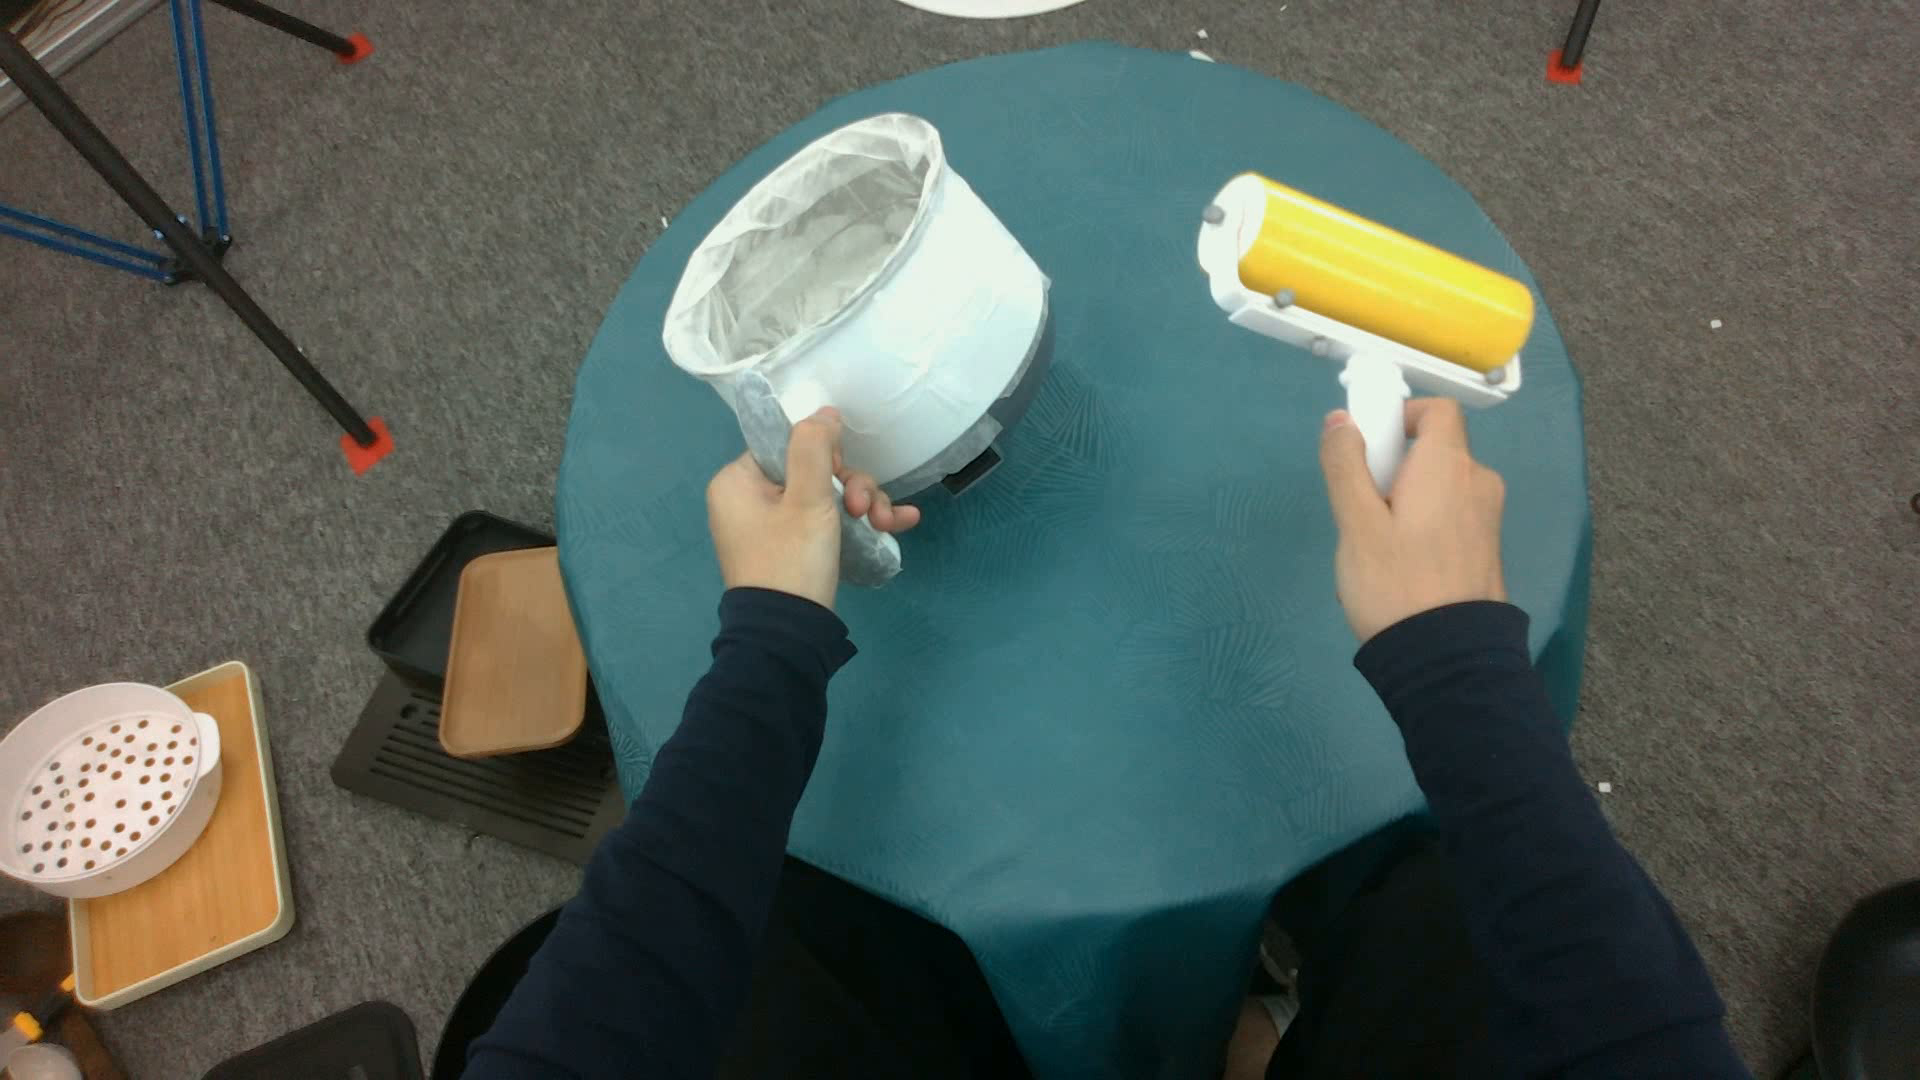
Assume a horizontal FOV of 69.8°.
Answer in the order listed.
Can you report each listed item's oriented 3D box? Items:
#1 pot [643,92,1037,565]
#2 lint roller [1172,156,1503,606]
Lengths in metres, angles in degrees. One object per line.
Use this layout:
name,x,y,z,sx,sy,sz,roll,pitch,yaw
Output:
pot,-0.062,-0.105,0.715,0.178,0.136,0.235,-19,42,31
lint roller,0.182,-0.067,0.605,0.174,0.051,0.193,12,57,-27
